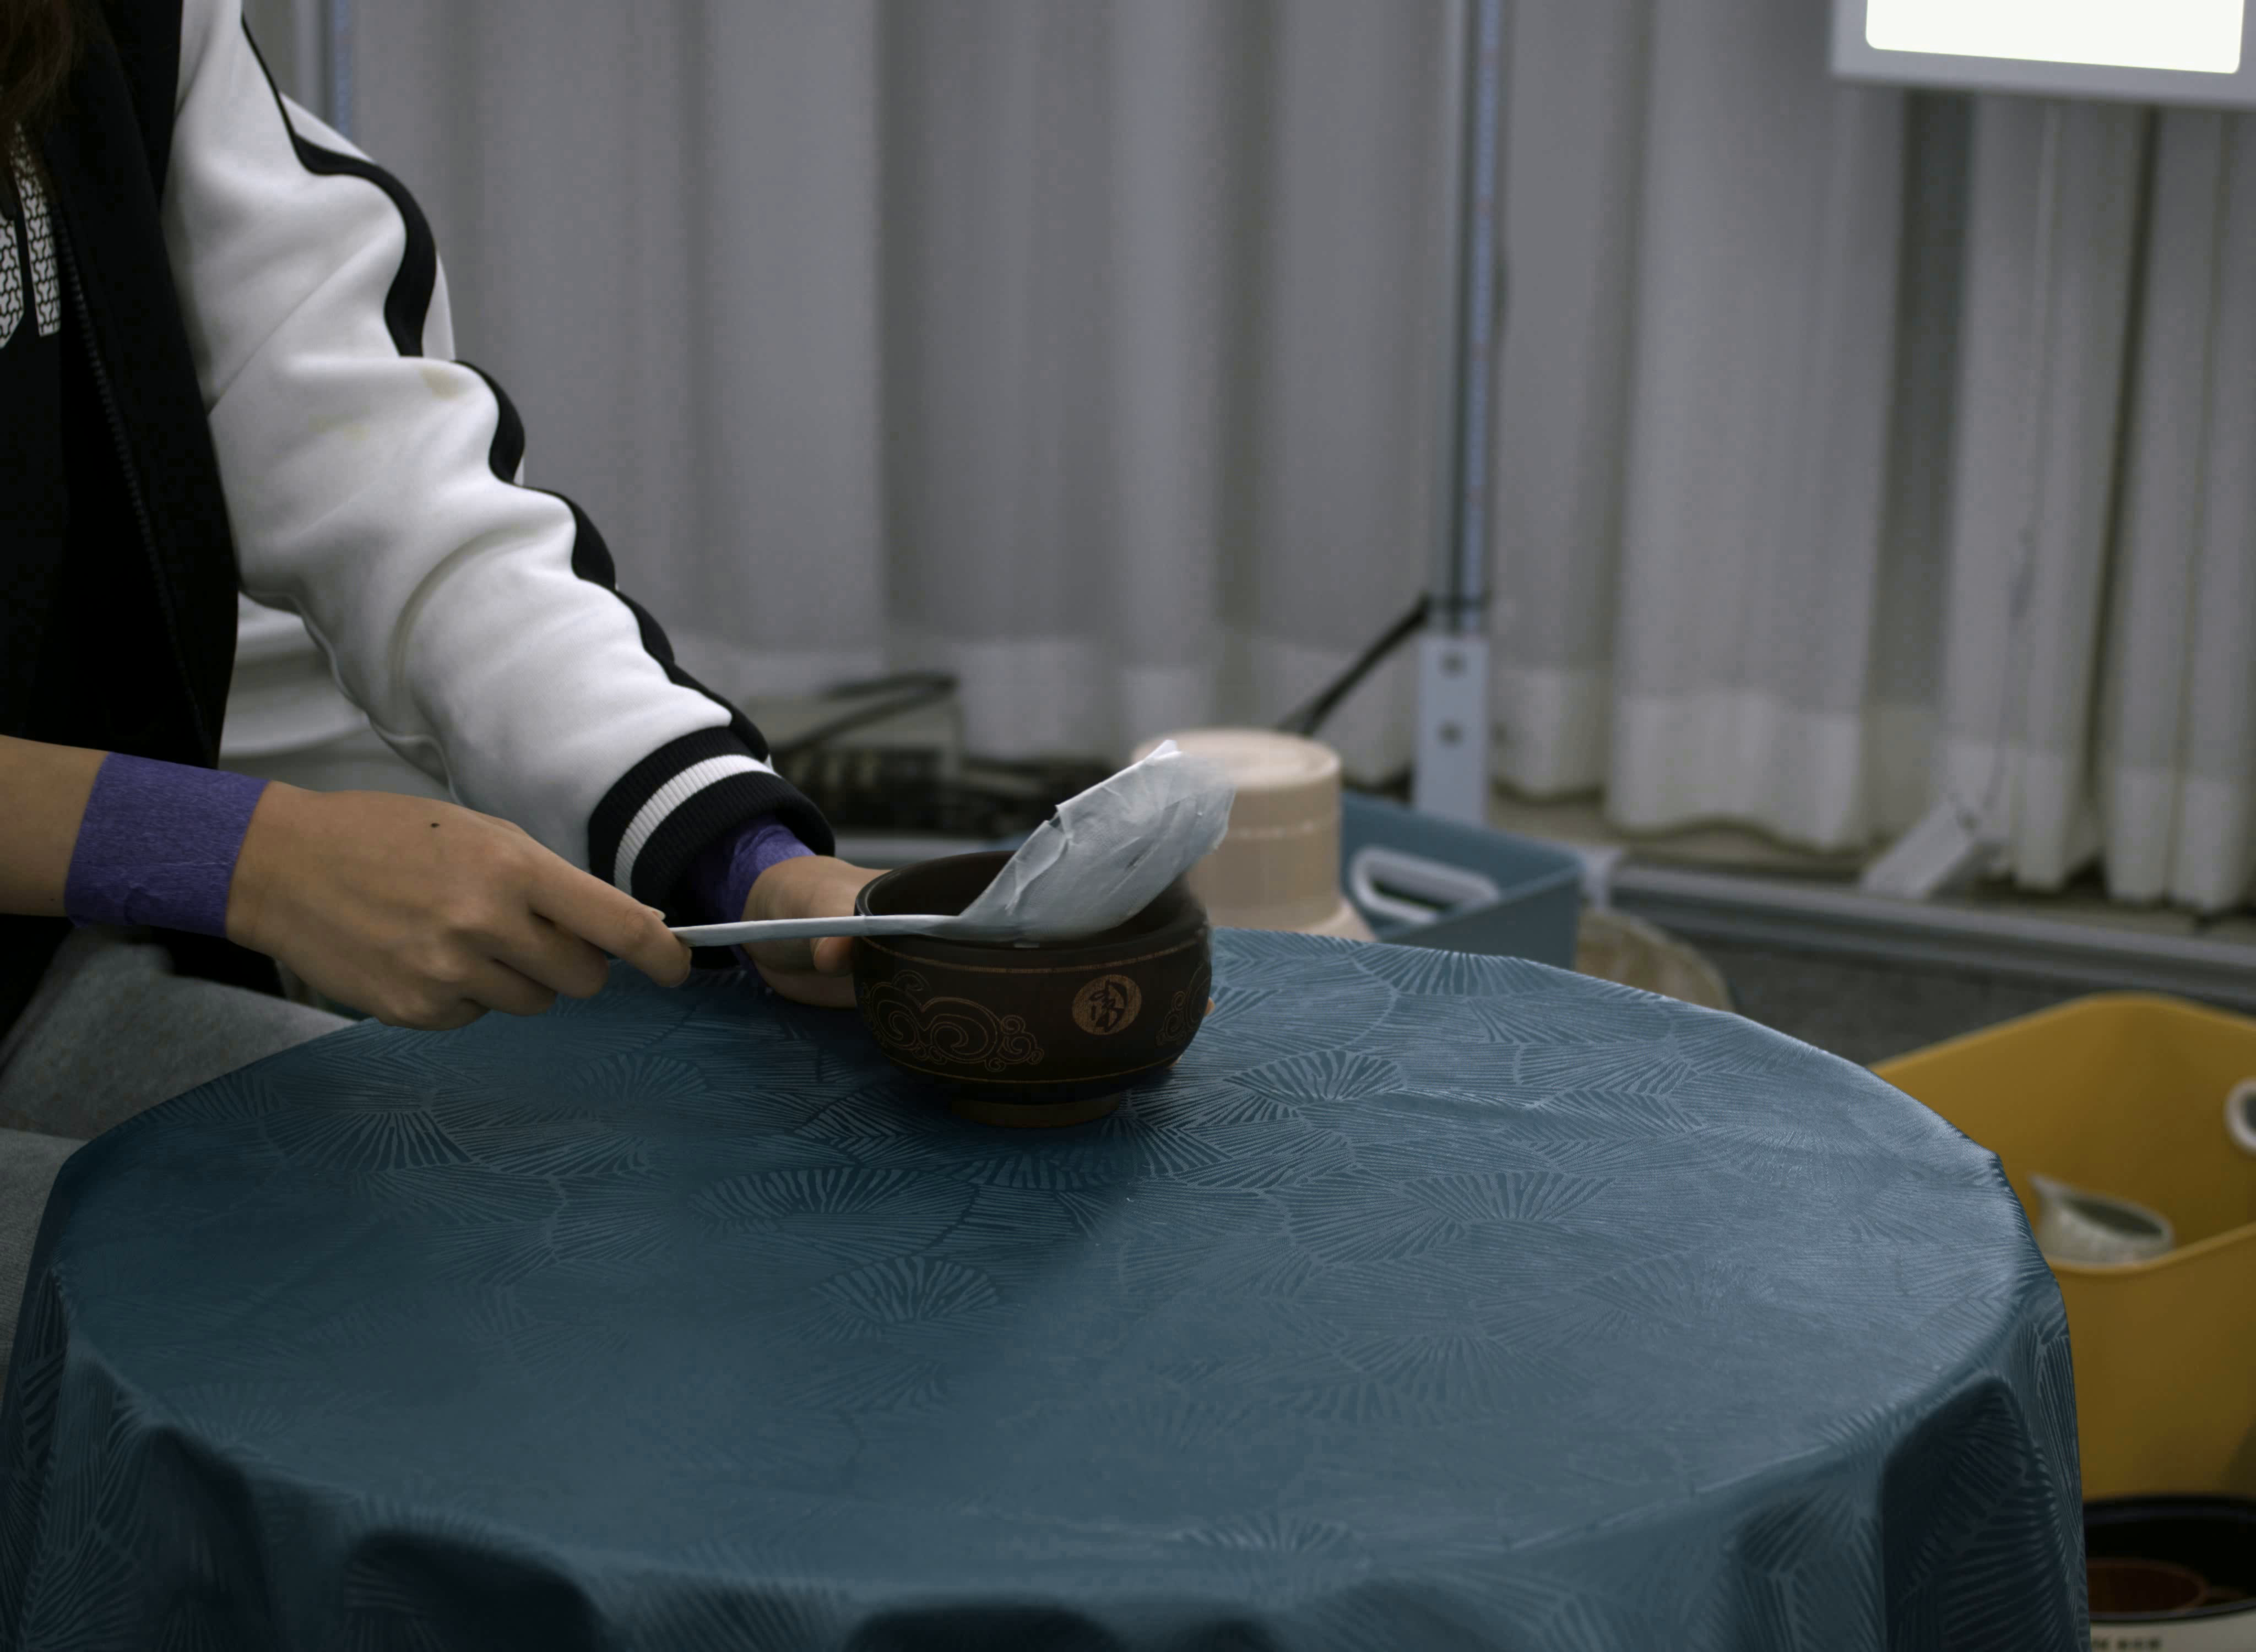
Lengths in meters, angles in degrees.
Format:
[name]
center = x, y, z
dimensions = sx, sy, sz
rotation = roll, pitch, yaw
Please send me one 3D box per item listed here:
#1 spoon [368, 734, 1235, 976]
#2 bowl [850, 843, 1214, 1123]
[spoon]
center = -0.103, 0.013, 1.659
dimensions = 0.276, 0.059, 0.102
rotation = -3, -27, 9
[bowl]
center = -0.031, 0.054, 1.694
dimensions = 0.117, 0.070, 0.117
rotation = 1, 16, 0
